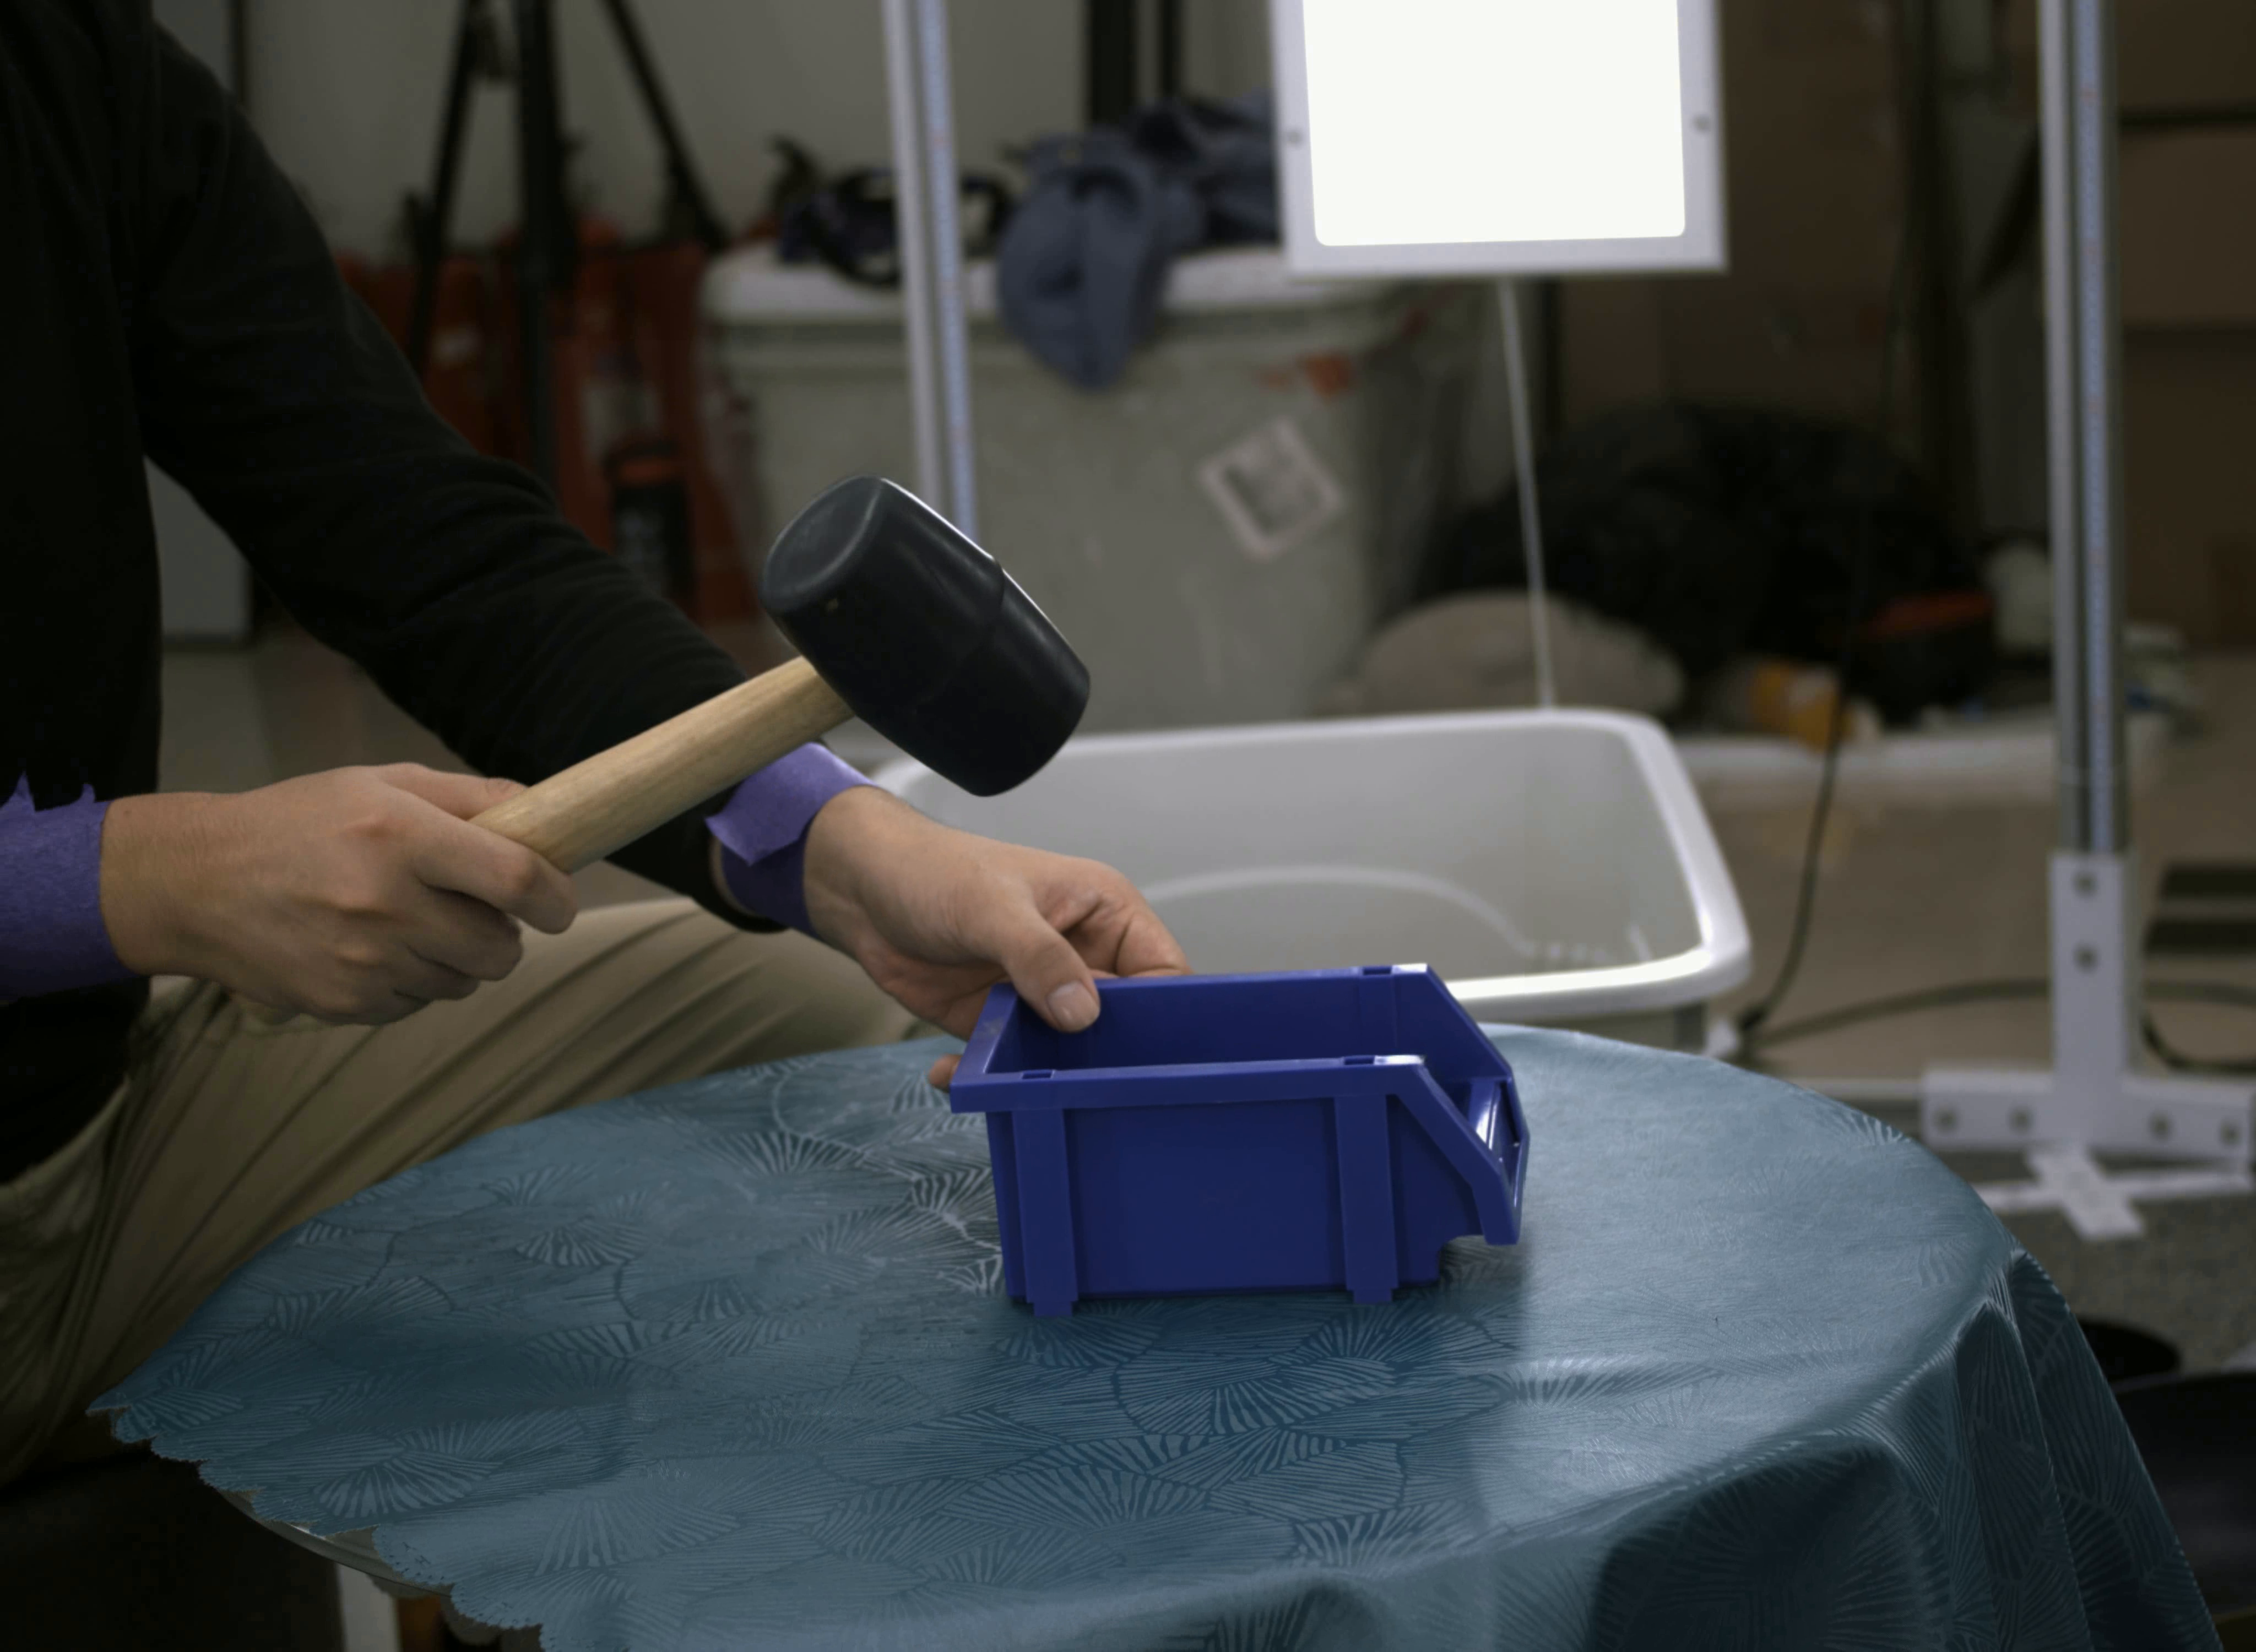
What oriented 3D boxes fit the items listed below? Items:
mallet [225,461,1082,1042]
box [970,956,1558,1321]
[{"bbox_3d":[-0.168,-0.012,1.787,0.346,0.101,0.063,-26,30,36],"label":"mallet"},{"bbox_3d":[0.049,0.101,1.815,0.180,0.082,0.123,-6,14,10],"label":"box"}]
